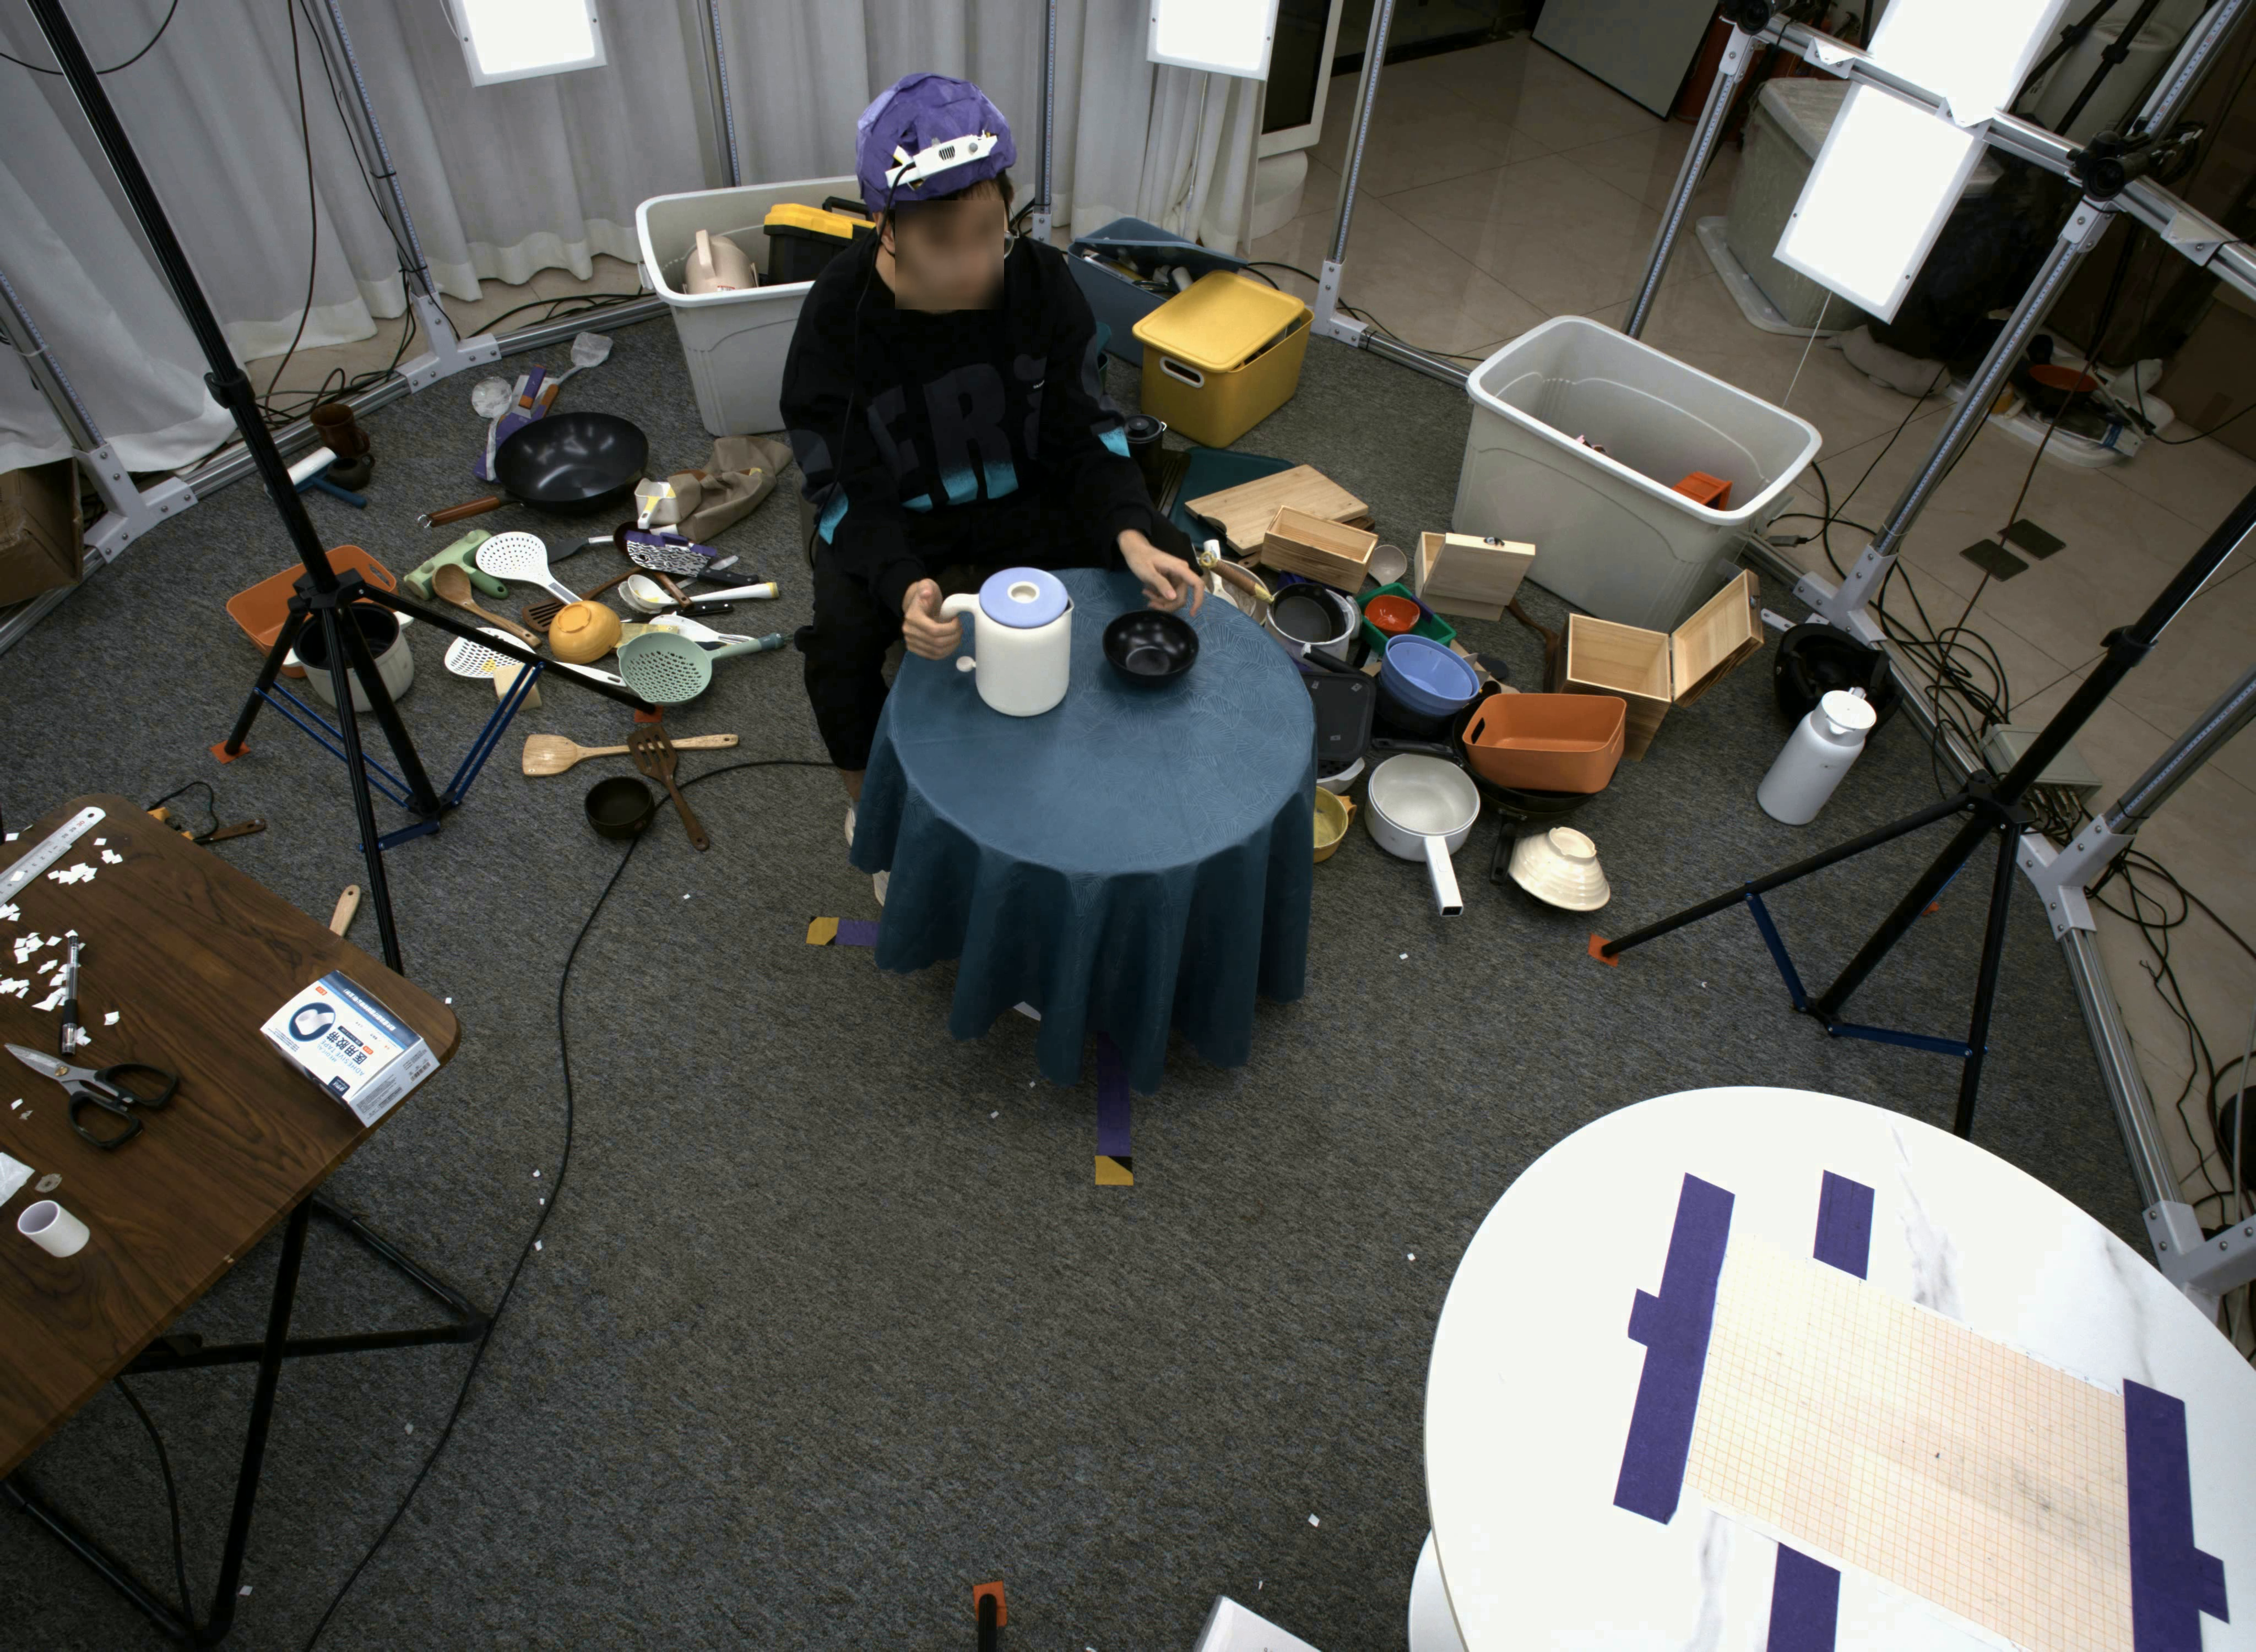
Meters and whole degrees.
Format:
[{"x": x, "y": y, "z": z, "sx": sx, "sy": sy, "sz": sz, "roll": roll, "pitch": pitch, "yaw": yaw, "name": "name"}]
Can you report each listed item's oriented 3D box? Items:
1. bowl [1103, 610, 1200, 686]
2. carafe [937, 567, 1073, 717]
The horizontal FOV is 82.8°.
[{"x": 0.033, "y": -0.249, "z": 1.855, "sx": 0.140, "sy": 0.048, "sz": 0.143, "roll": 1, "pitch": 48, "yaw": -1, "name": "bowl"}, {"x": -0.168, "y": -0.255, "z": 1.768, "sx": 0.191, "sy": 0.178, "sz": 0.135, "roll": 6, "pitch": 48, "yaw": 5, "name": "carafe"}]
